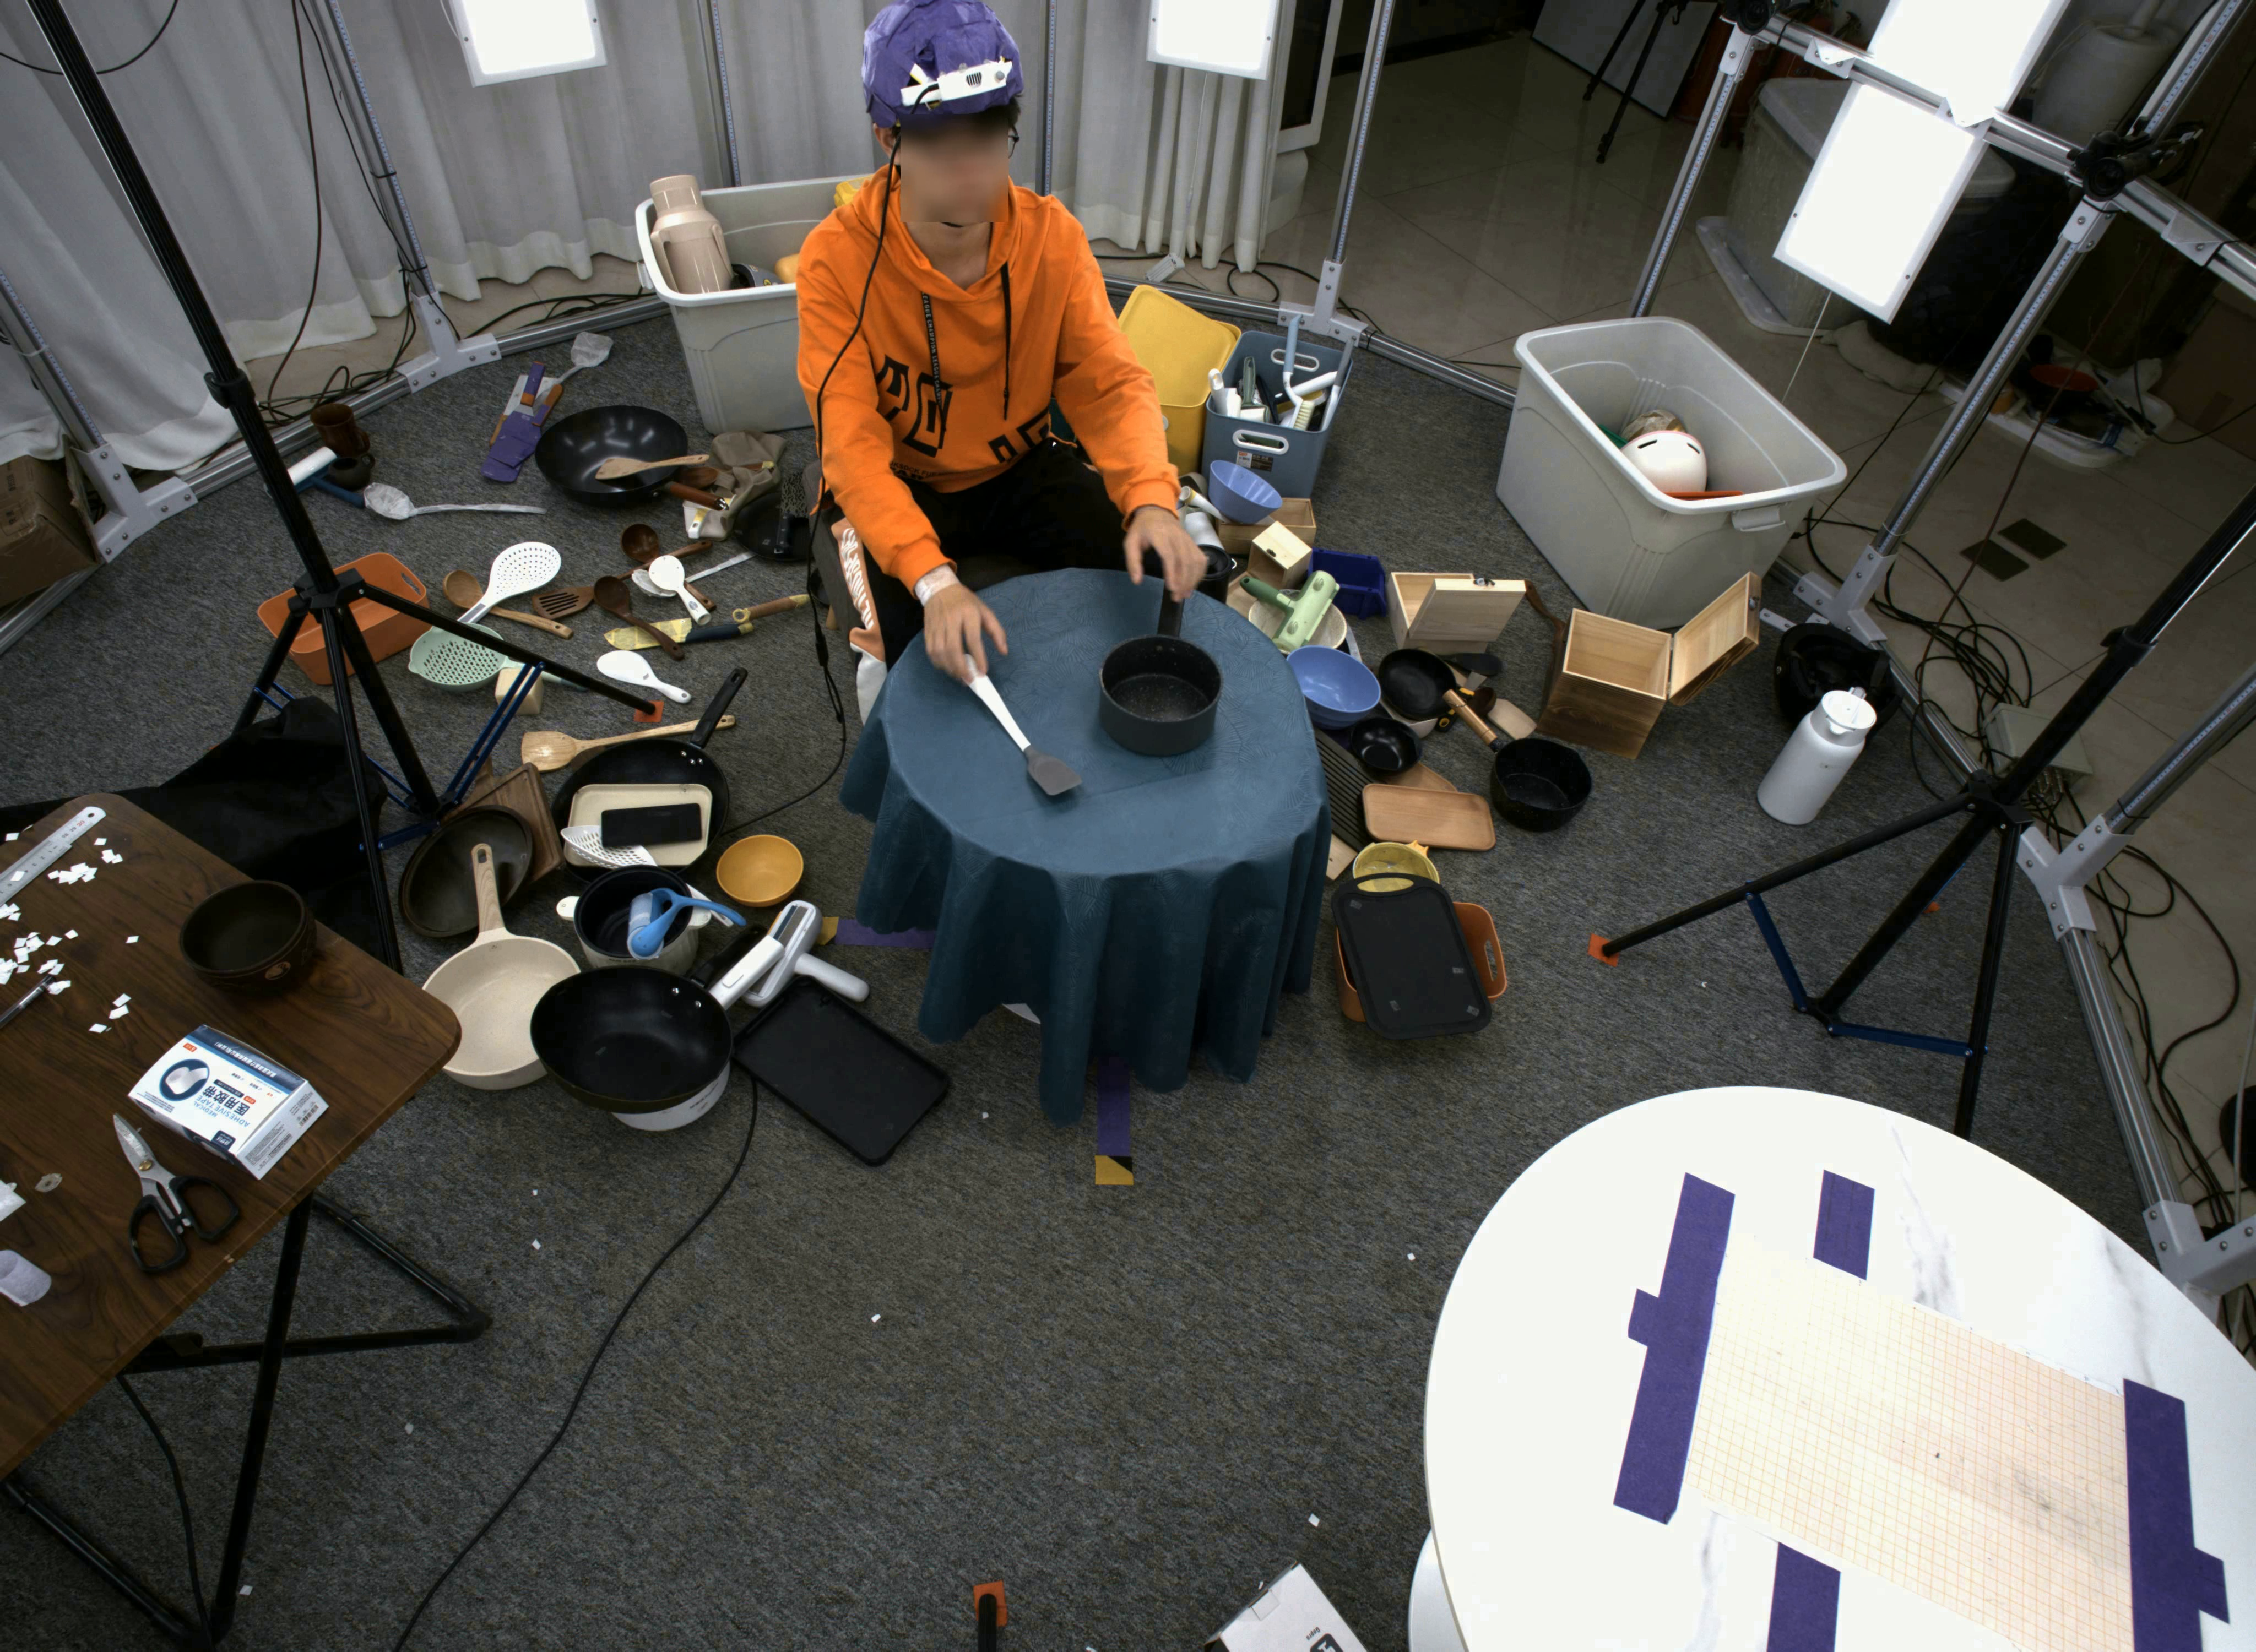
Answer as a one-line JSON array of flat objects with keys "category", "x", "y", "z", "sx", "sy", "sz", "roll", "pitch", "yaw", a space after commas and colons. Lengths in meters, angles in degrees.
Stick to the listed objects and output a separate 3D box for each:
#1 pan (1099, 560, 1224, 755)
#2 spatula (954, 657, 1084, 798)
[{"category": "pan", "x": 0.057, "y": -0.243, "z": 1.829, "sx": 0.172, "sy": 0.084, "sz": 0.336, "roll": 10, "pitch": 51, "yaw": 4}, {"category": "spatula", "x": -0.155, "y": -0.134, "z": 1.754, "sx": 0.059, "sy": 0.031, "sz": 0.293, "roll": -22, "pitch": 53, "yaw": -26}]
